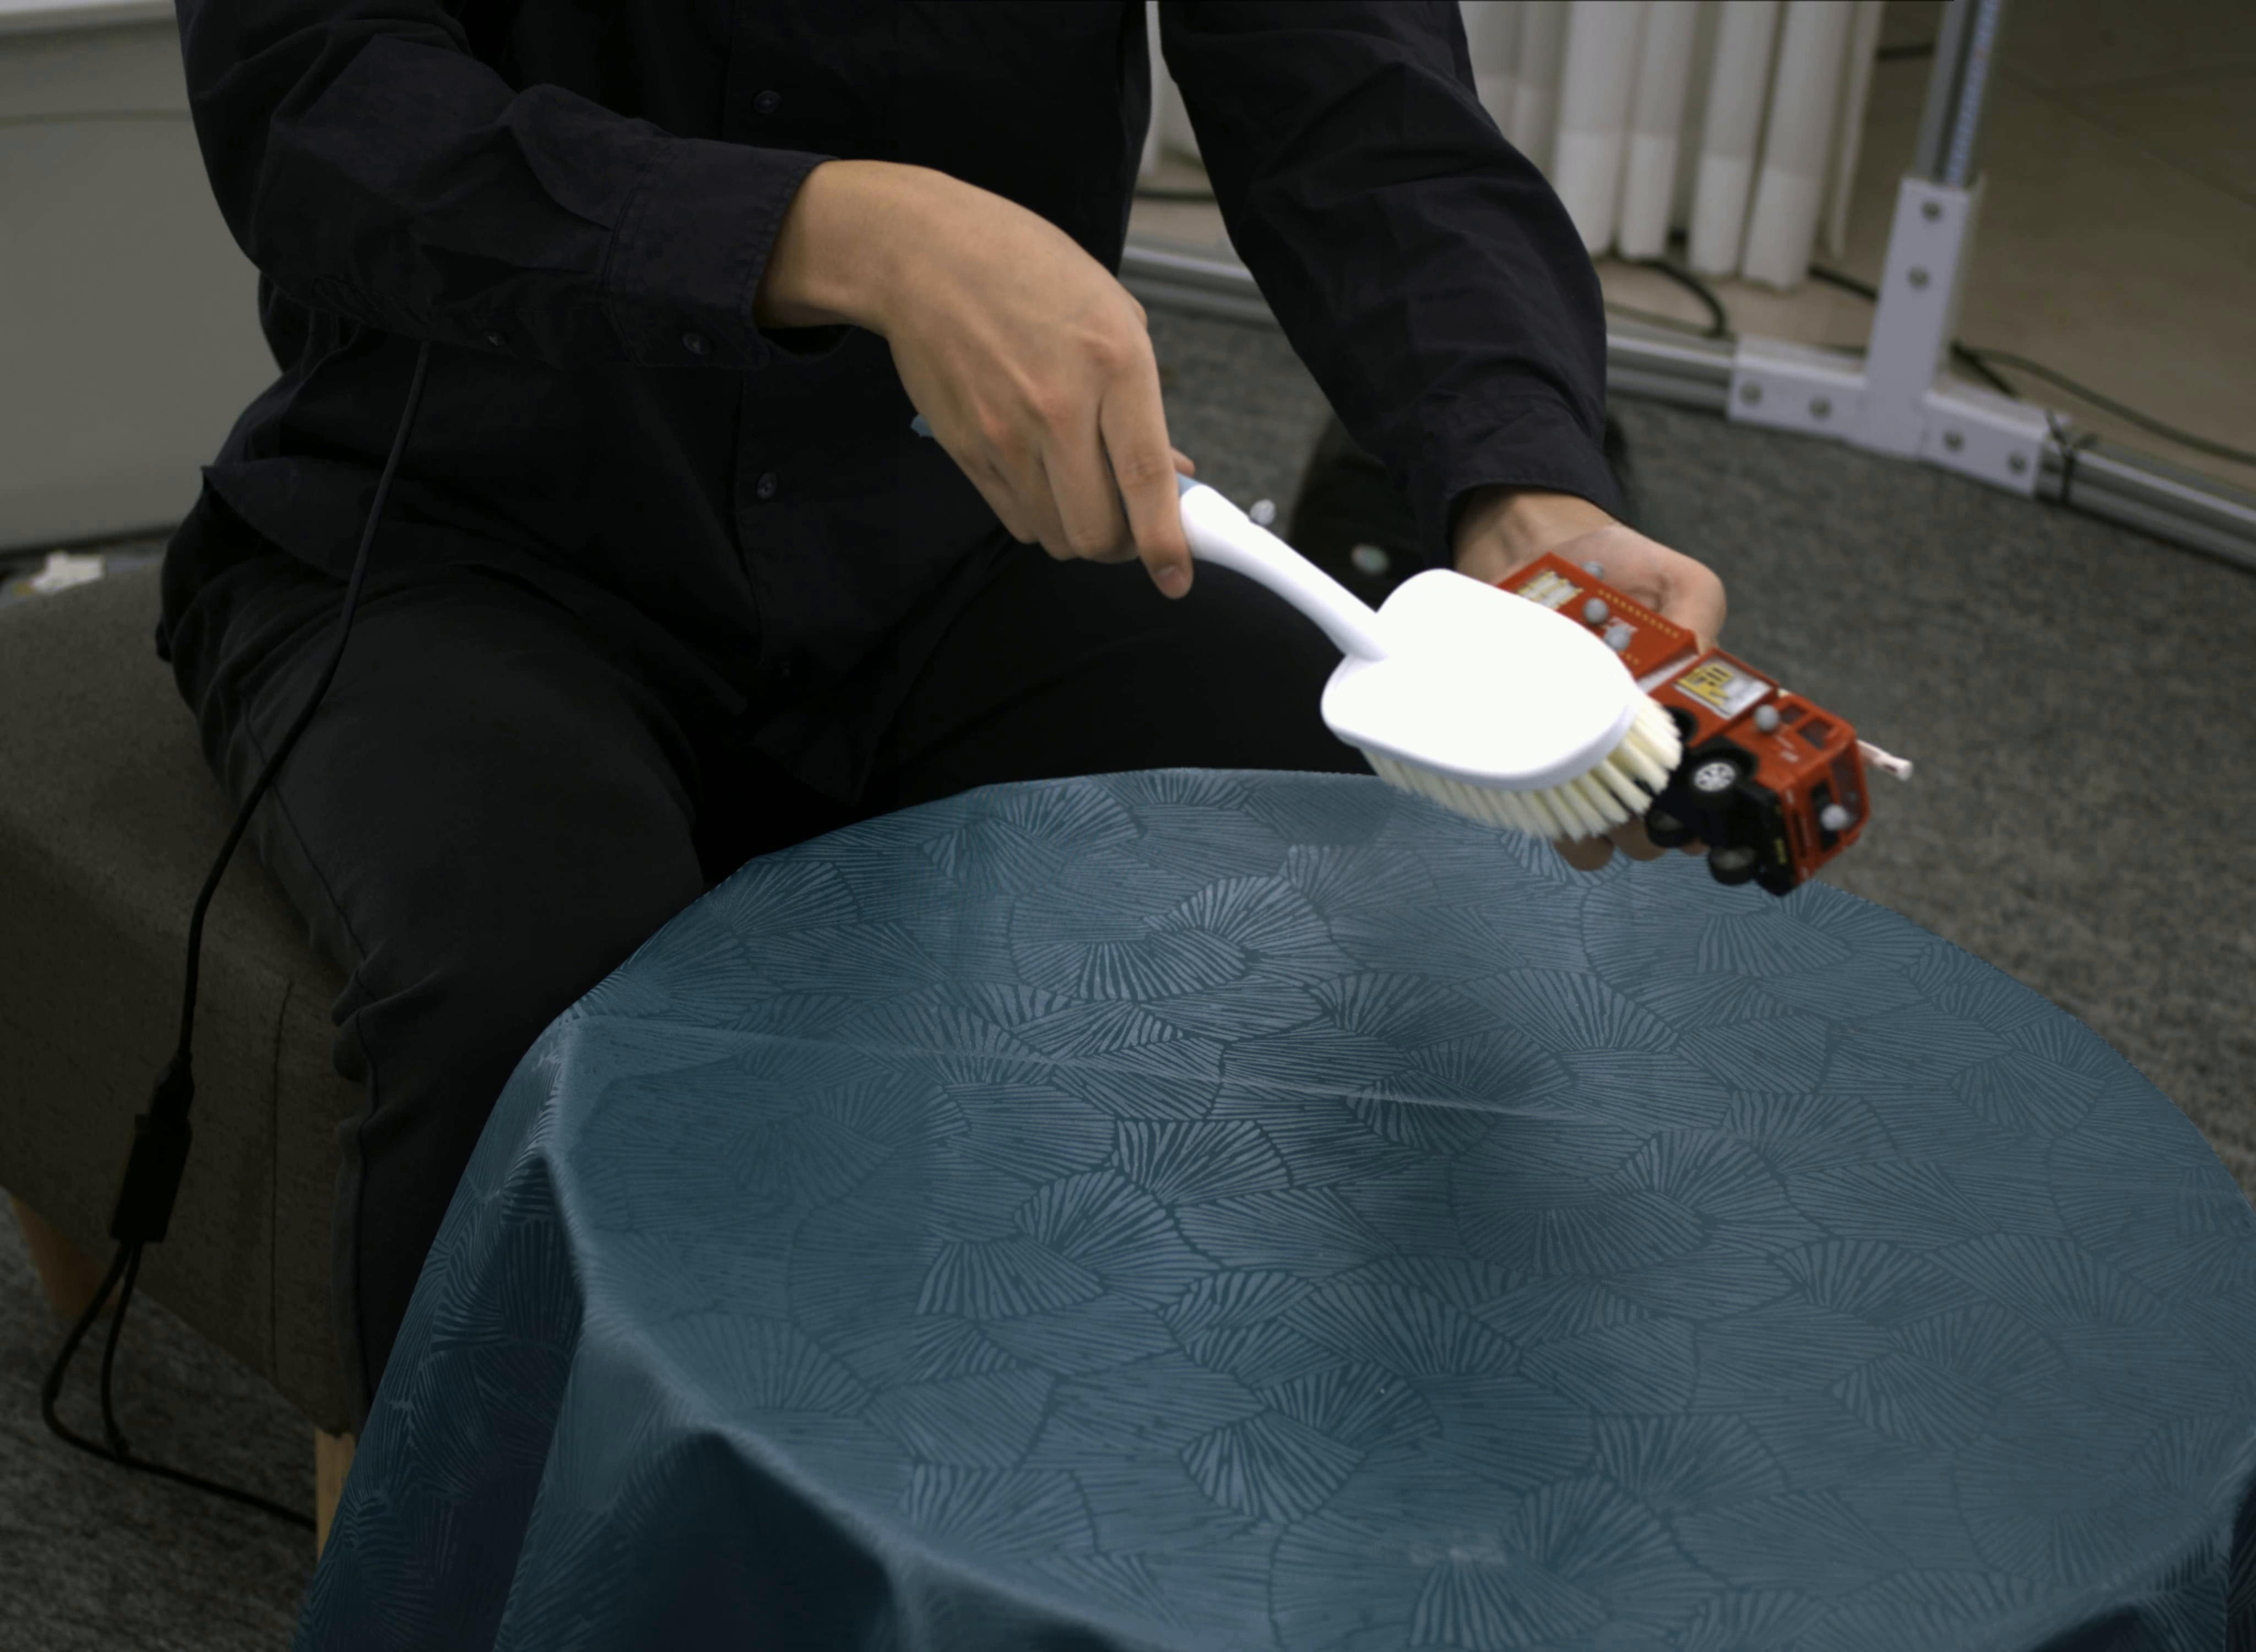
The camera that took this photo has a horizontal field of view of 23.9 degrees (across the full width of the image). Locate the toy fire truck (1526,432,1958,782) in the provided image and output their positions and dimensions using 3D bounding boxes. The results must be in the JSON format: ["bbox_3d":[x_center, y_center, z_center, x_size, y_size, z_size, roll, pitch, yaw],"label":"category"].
[{"bbox_3d":[0.193,-0.075,1.771,0.070,0.053,0.169,-35,42,-21],"label":"toy fire truck"}]

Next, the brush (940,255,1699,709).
[{"bbox_3d":[0.067,-0.119,1.816,0.328,0.084,0.083,28,41,36],"label":"brush"}]
